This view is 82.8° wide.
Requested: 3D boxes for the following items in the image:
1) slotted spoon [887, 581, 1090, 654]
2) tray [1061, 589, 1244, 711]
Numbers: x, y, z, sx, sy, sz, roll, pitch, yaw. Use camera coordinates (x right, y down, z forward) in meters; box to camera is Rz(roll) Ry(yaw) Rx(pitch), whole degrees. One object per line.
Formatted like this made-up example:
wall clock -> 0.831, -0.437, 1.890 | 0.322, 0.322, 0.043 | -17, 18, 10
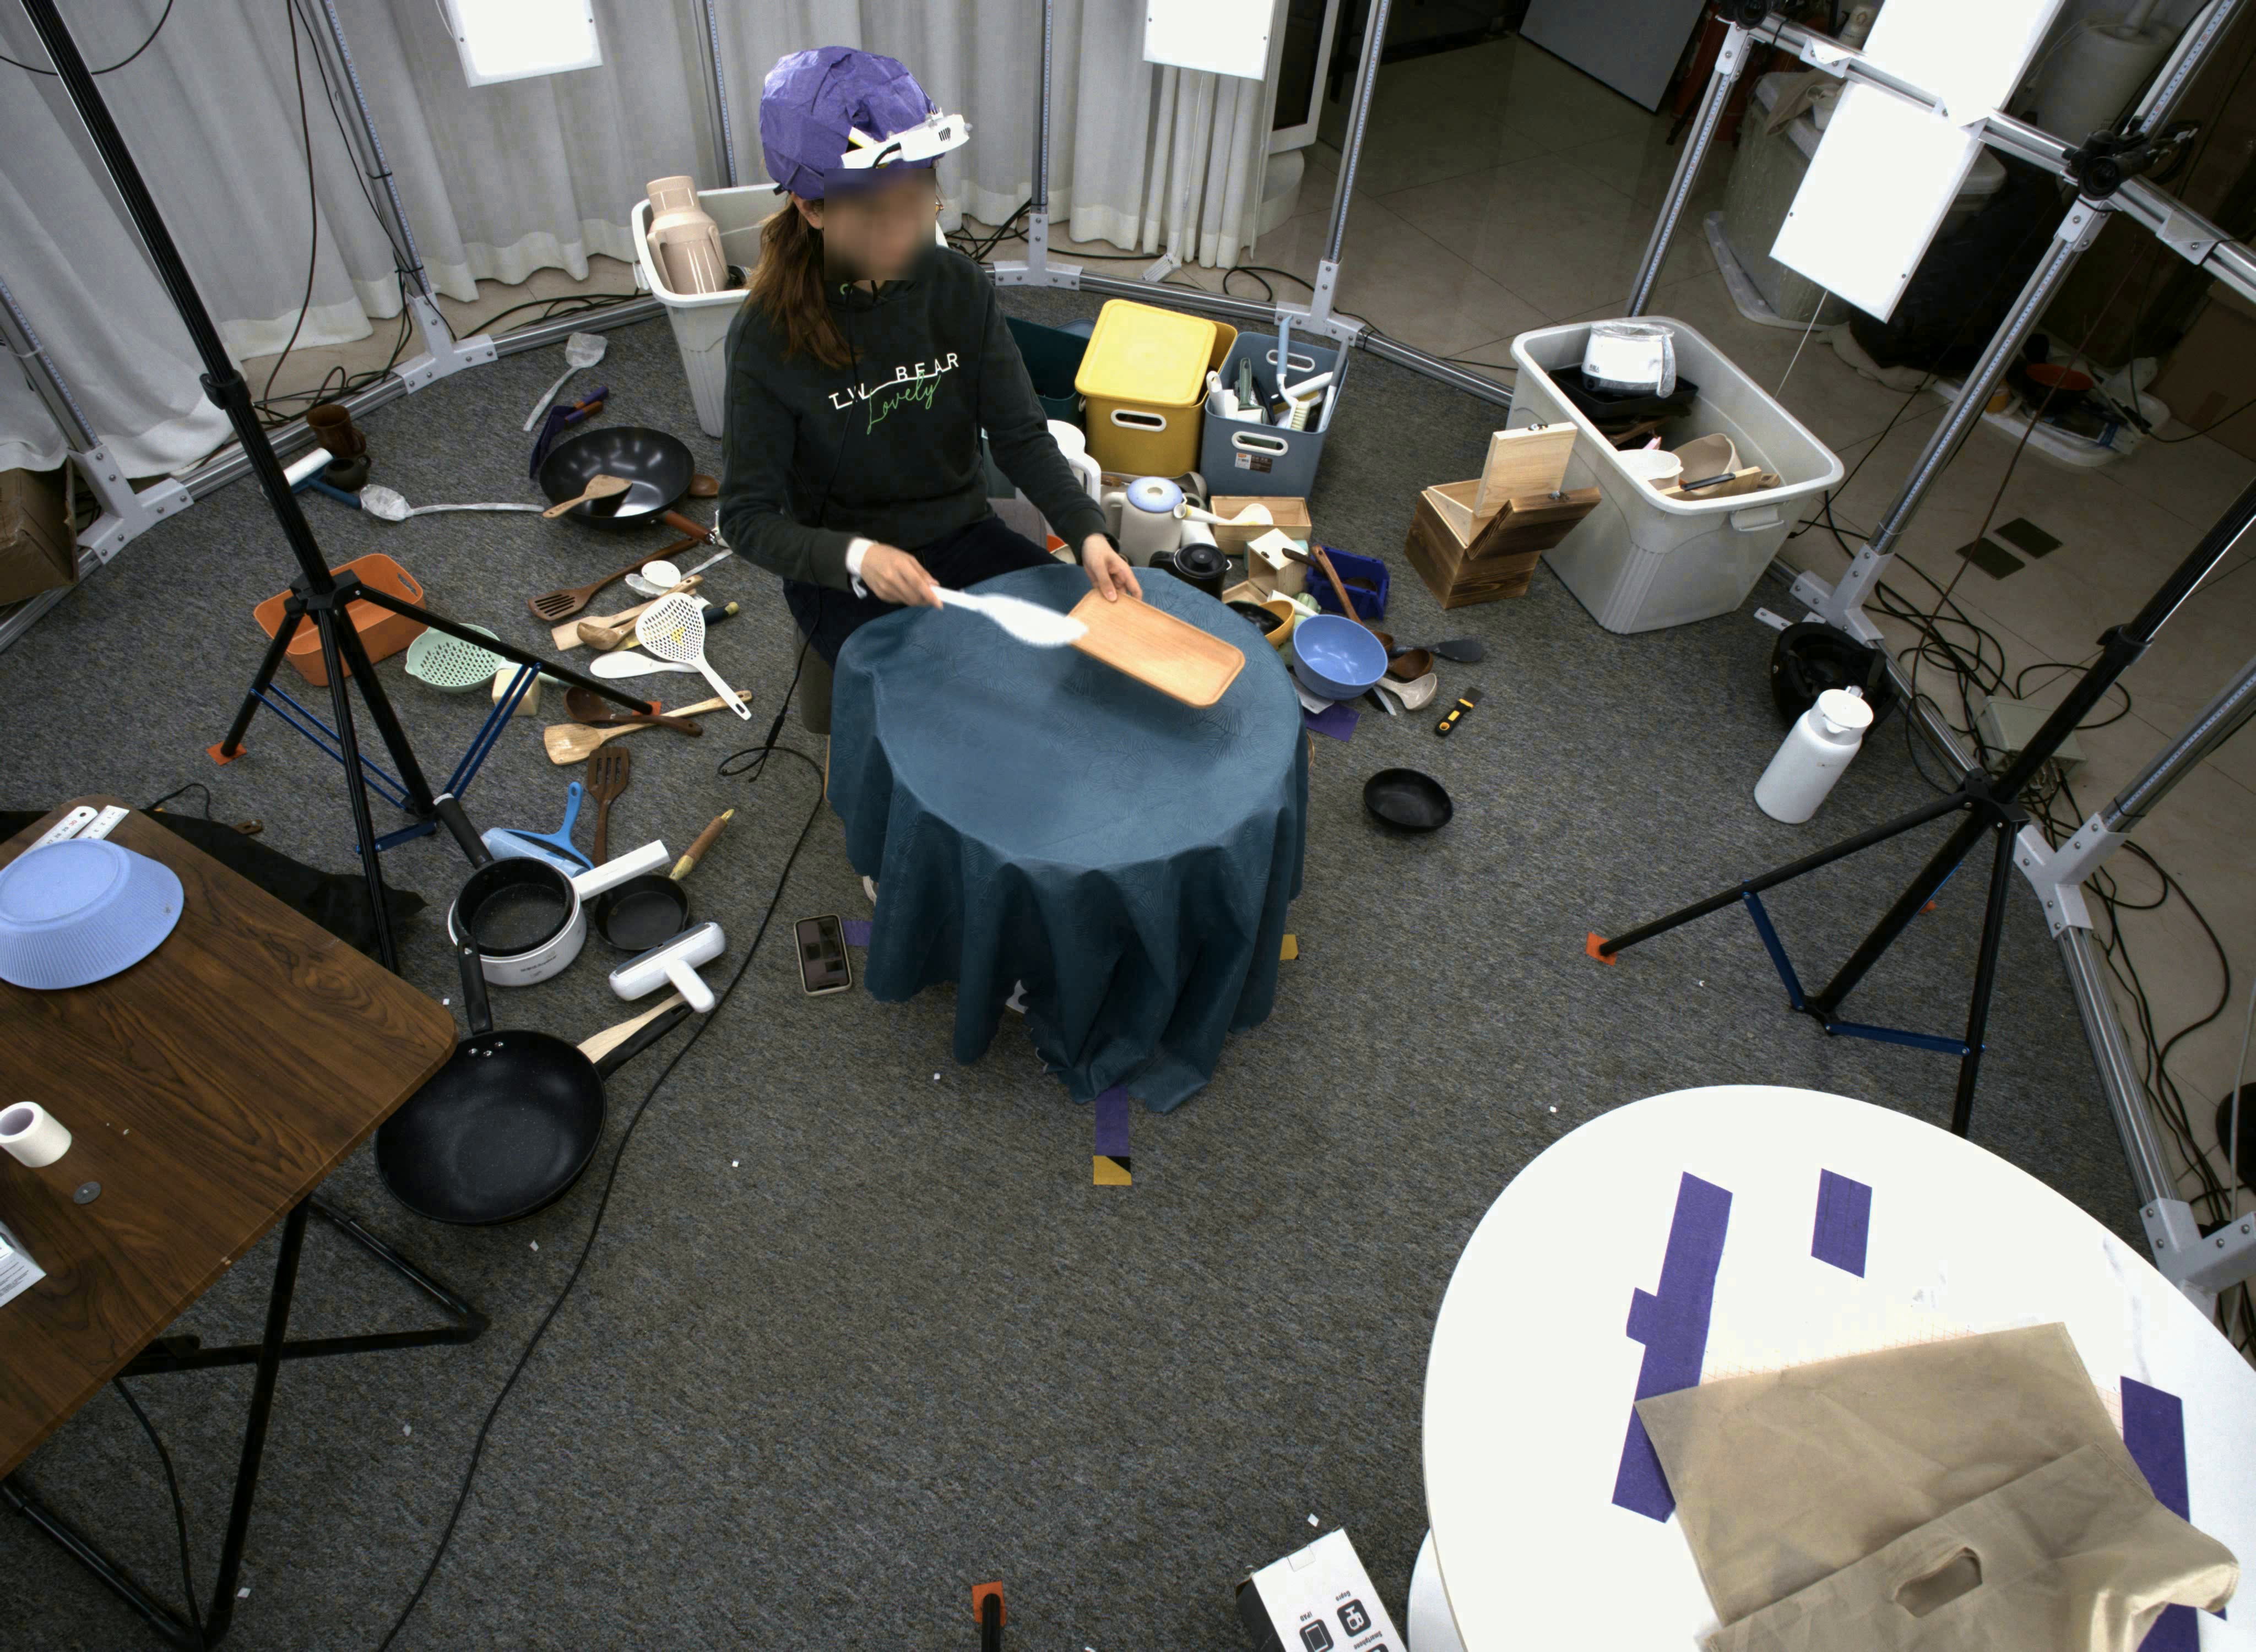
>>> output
slotted spoon -> -0.198, -0.286, 1.713 | 0.354, 0.045, 0.135 | 26, 9, 36
tray -> 0.033, -0.248, 1.802 | 0.253, 0.022, 0.132 | 28, 53, 17
